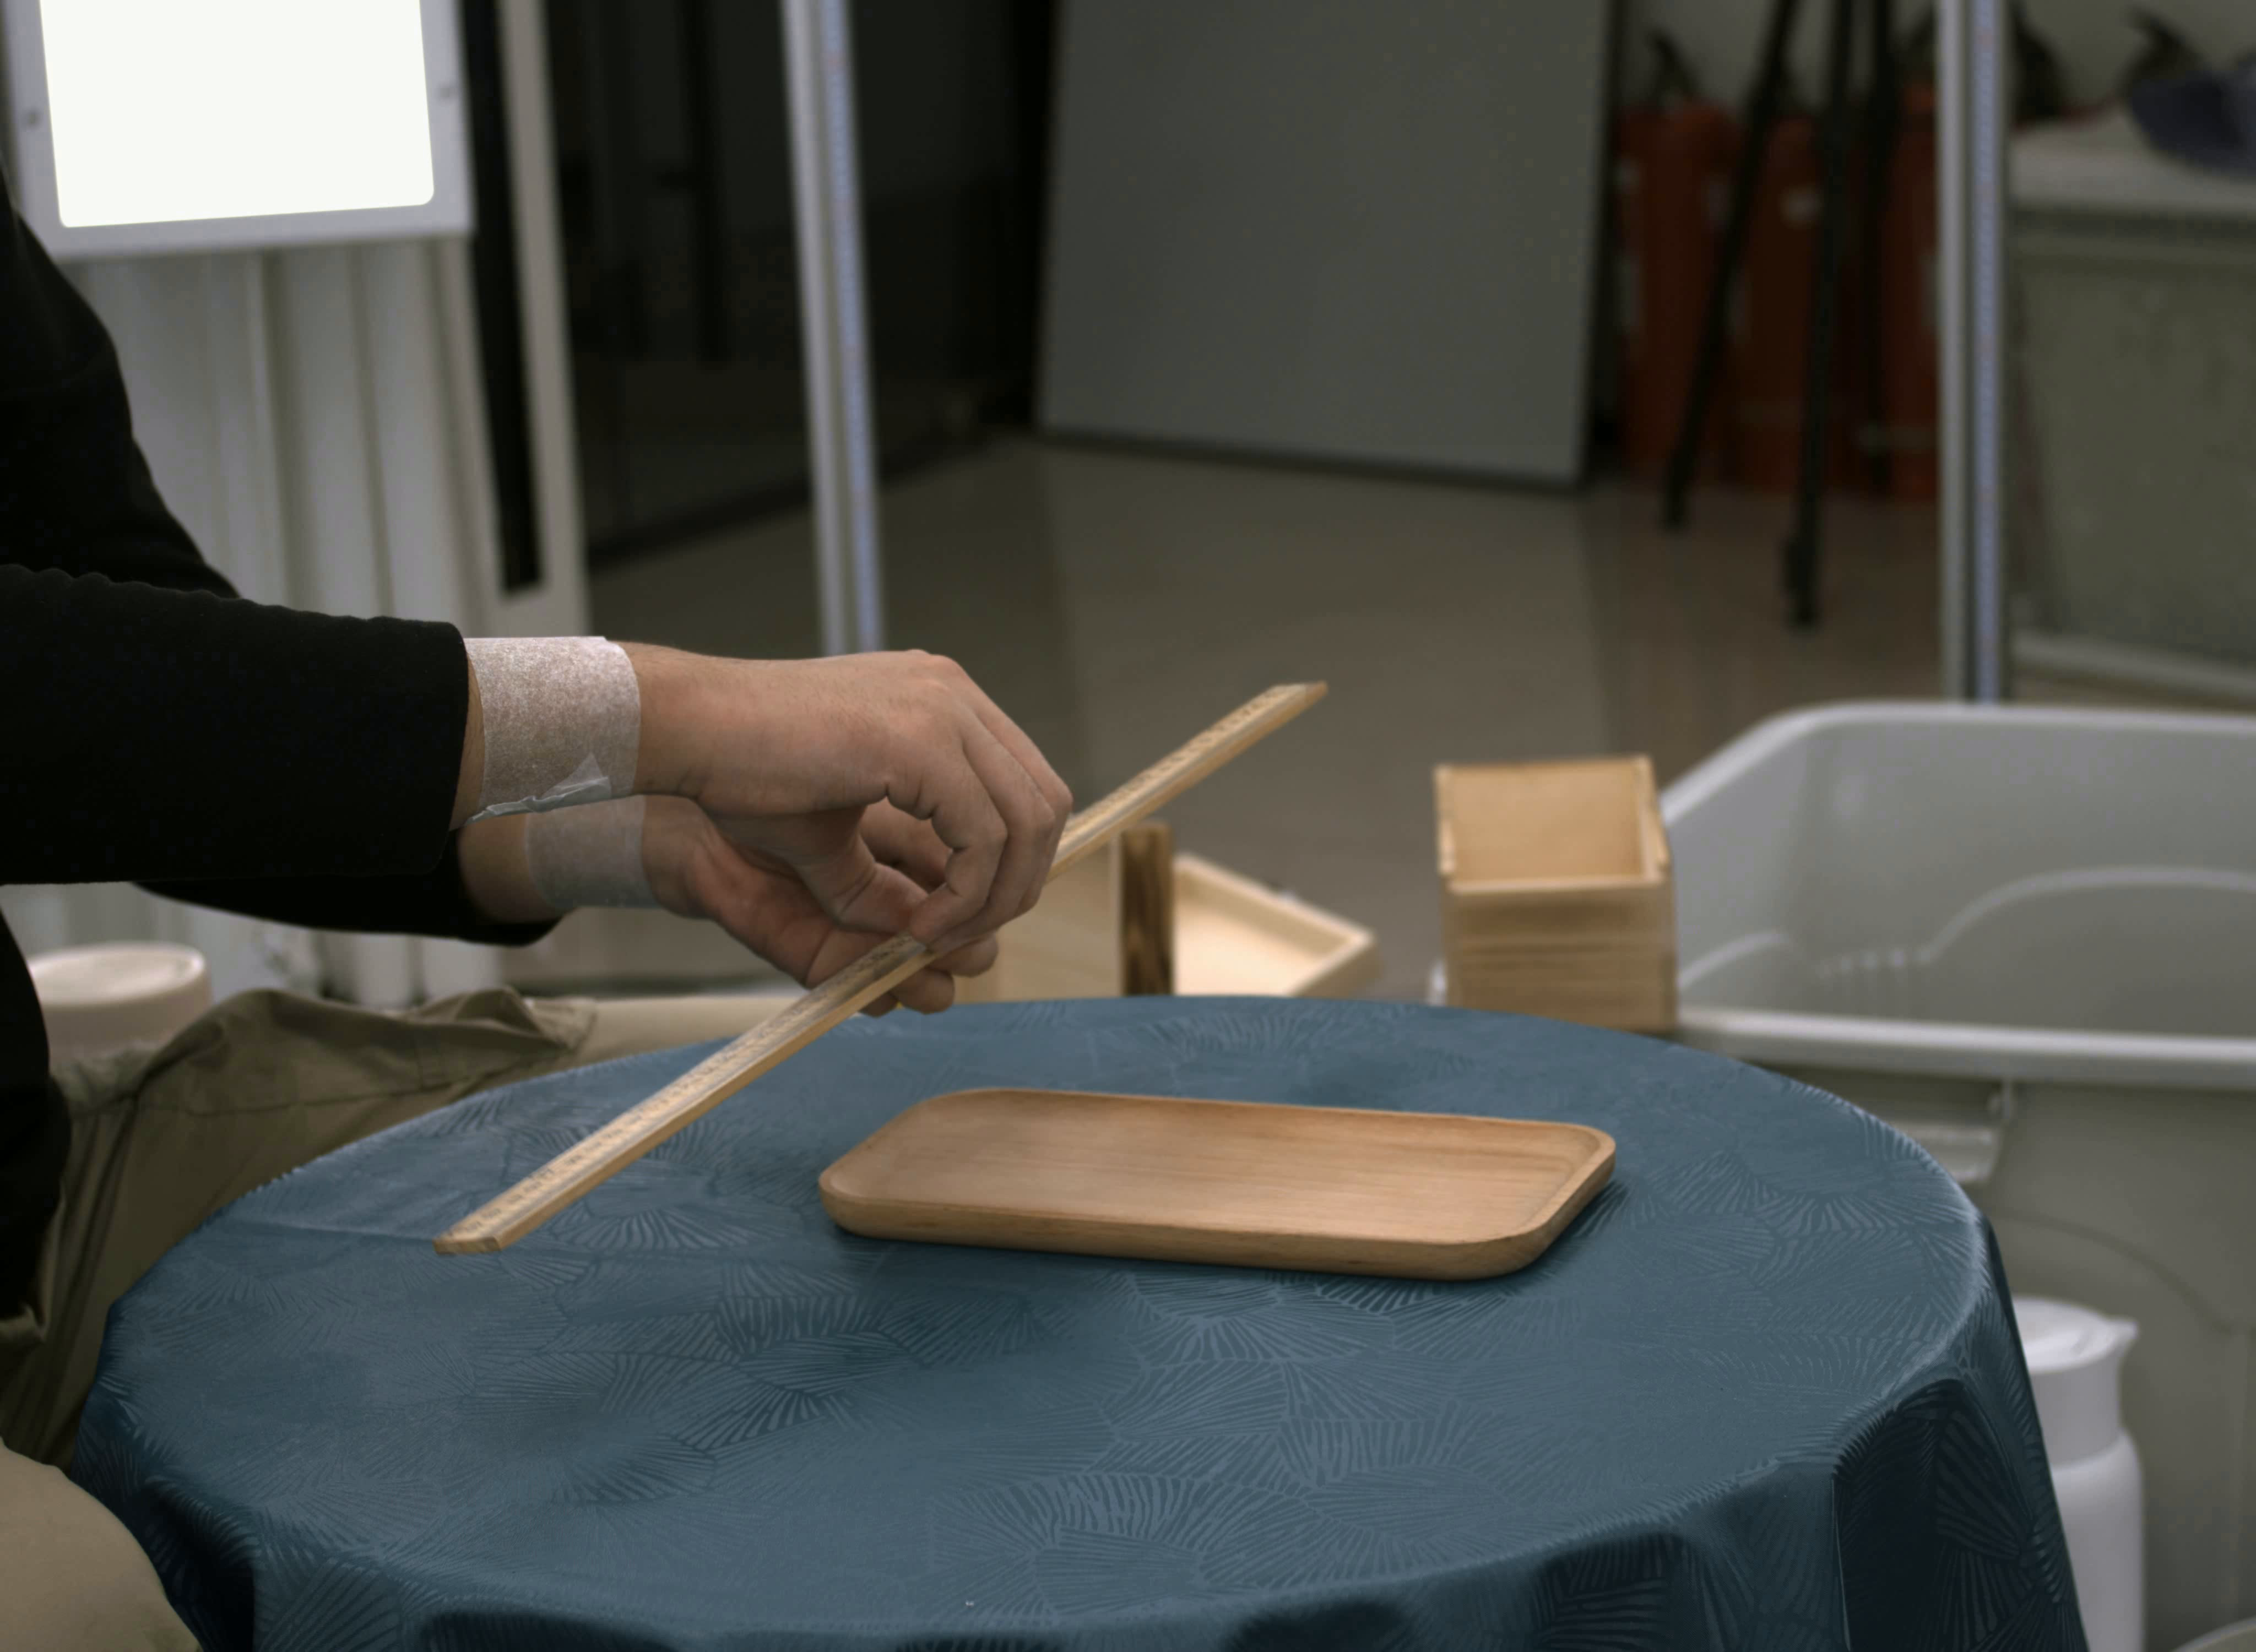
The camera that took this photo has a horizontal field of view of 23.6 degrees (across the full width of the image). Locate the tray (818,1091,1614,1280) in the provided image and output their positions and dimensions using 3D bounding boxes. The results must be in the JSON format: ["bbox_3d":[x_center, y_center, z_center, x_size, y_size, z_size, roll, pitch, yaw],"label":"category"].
[{"bbox_3d":[0.028,0.116,1.750,0.251,0.023,0.129,1,12,25],"label":"tray"}]

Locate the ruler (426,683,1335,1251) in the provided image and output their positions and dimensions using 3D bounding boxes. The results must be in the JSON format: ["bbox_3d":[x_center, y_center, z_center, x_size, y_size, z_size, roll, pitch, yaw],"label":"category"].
[{"bbox_3d":[-0.063,0.035,1.715,0.027,0.006,0.493,-13,12,36],"label":"ruler"}]
